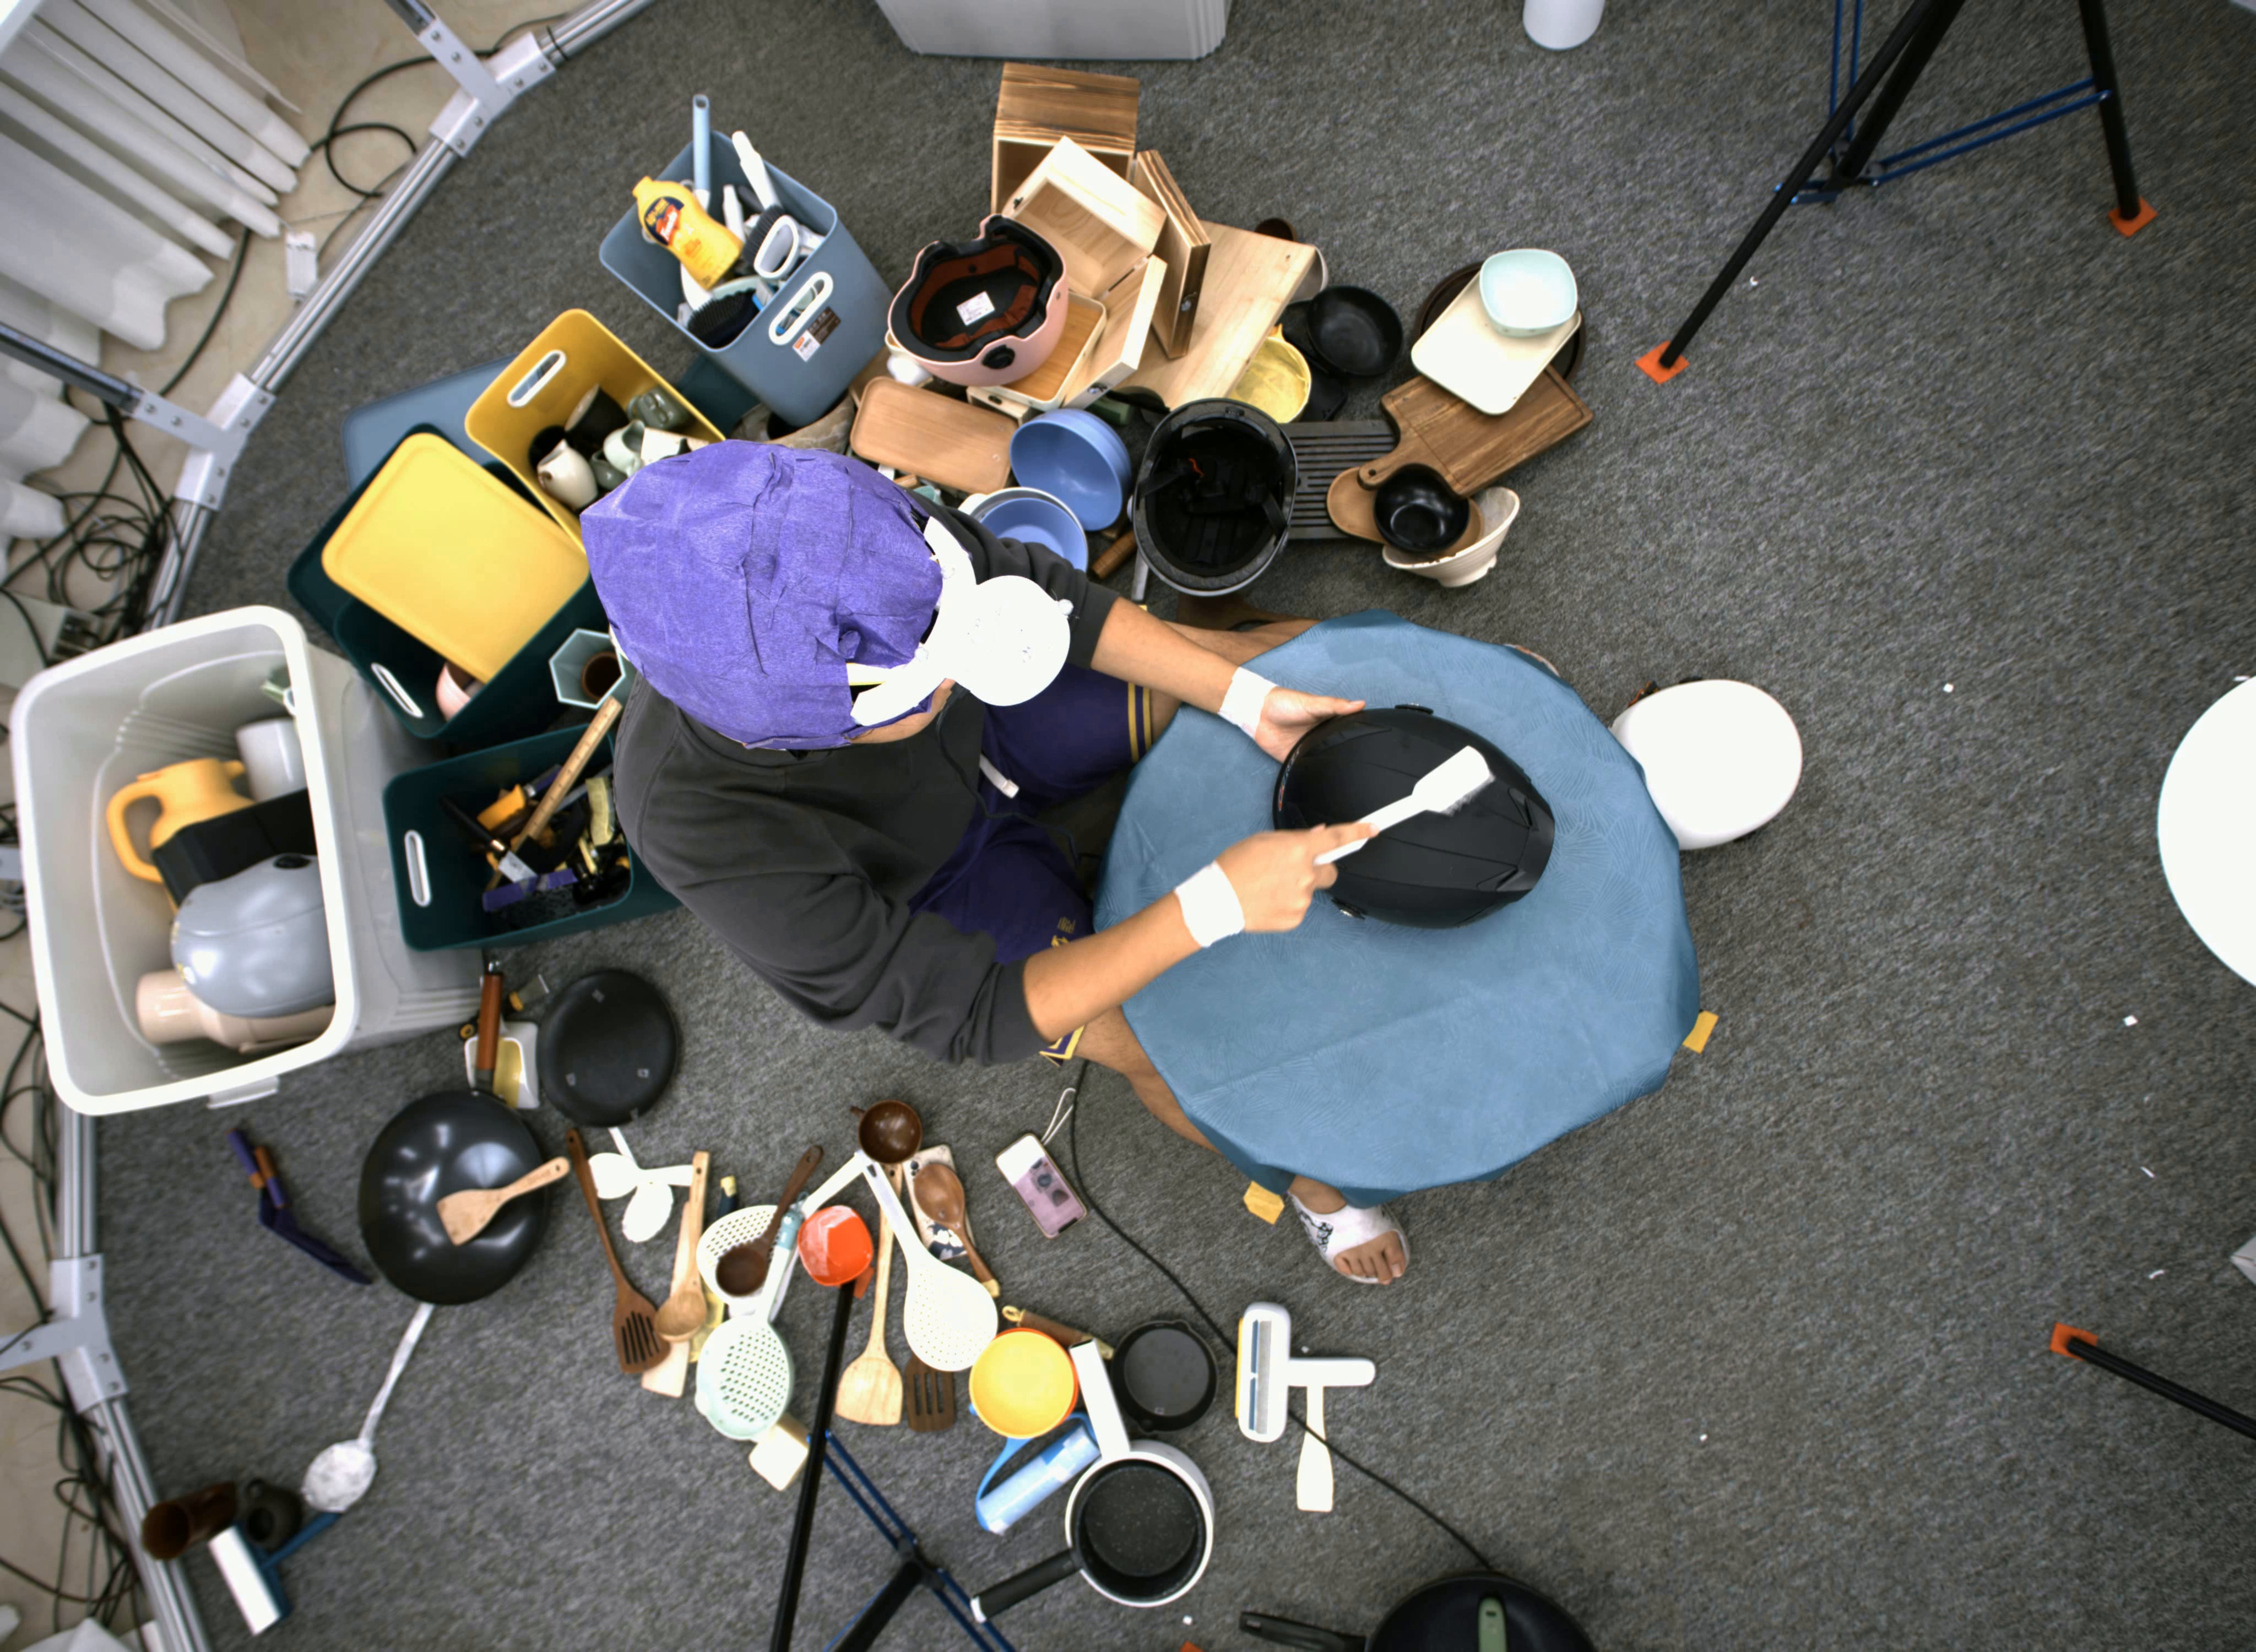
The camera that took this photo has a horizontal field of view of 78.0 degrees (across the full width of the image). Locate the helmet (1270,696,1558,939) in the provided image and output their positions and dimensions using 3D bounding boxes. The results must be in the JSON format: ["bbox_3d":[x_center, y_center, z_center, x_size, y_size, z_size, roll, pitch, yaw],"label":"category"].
[{"bbox_3d":[0.282,-0.015,1.378,0.277,0.172,0.247,20,92,7],"label":"helmet"}]

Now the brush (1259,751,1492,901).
[{"bbox_3d":[0.223,0.006,1.245,0.243,0.051,0.034,-31,67,-4],"label":"brush"}]
